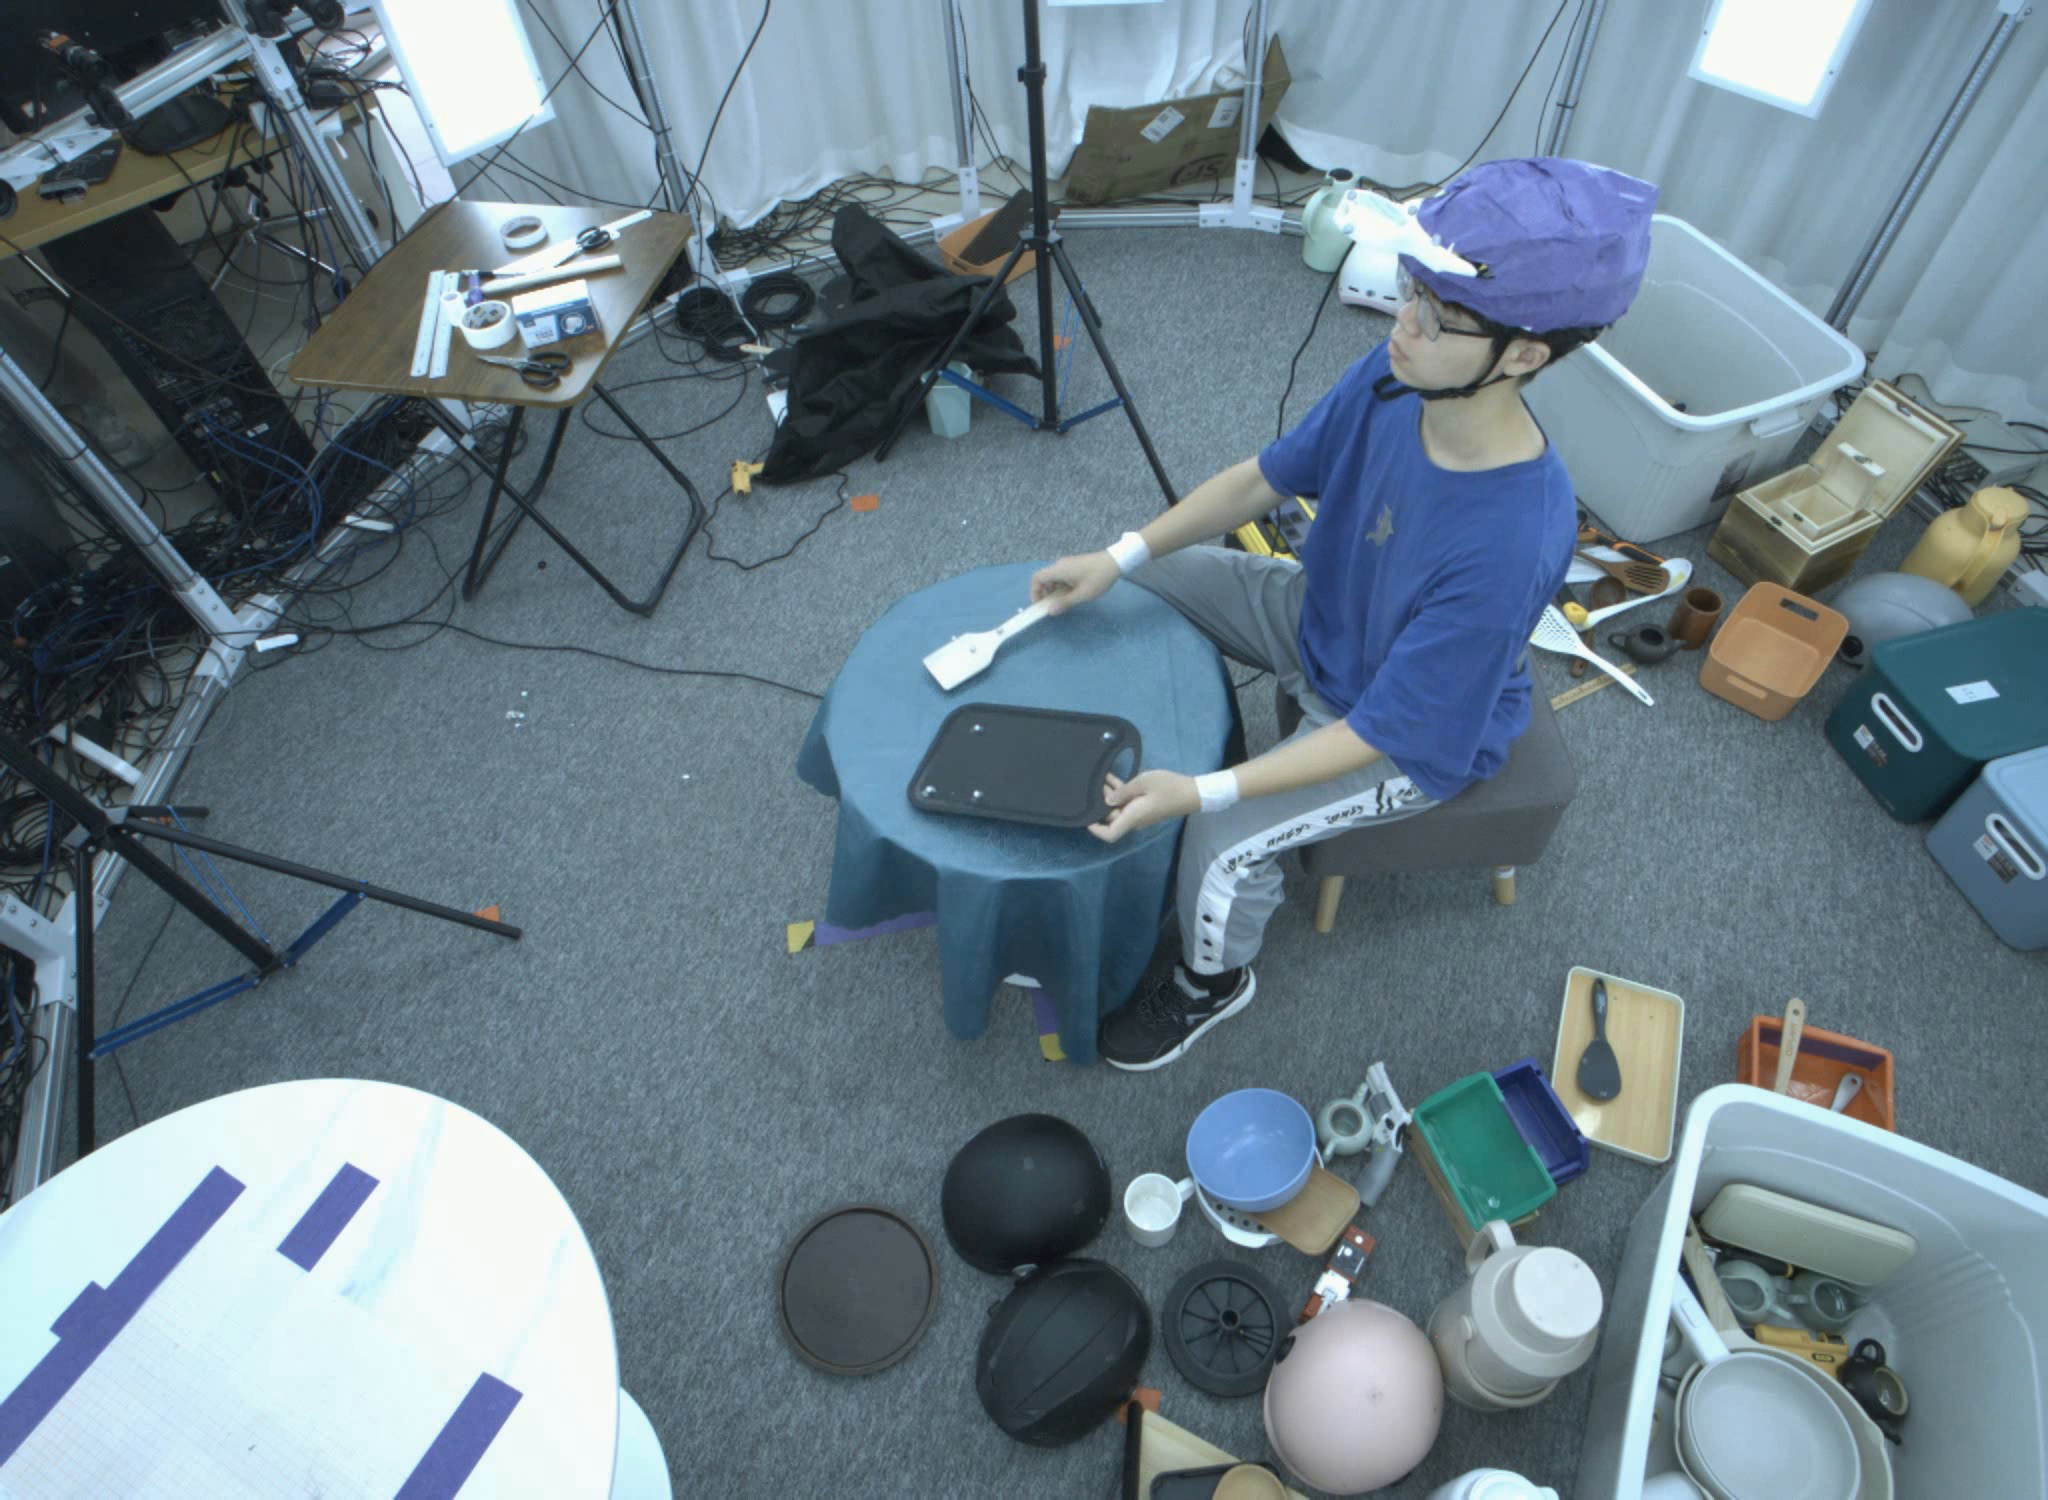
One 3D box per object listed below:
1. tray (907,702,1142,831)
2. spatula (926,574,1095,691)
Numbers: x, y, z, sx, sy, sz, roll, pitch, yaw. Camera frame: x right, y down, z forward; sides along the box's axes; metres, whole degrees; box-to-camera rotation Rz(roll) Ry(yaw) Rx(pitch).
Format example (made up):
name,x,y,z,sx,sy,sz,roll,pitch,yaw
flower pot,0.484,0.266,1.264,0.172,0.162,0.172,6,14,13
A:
name,x,y,z,sx,sy,sz,roll,pitch,yaw
tray,0.004,0.018,1.710,0.320,0.010,0.211,7,51,24
spatula,-0.014,-0.188,1.878,0.294,0.011,0.071,-34,63,-12
